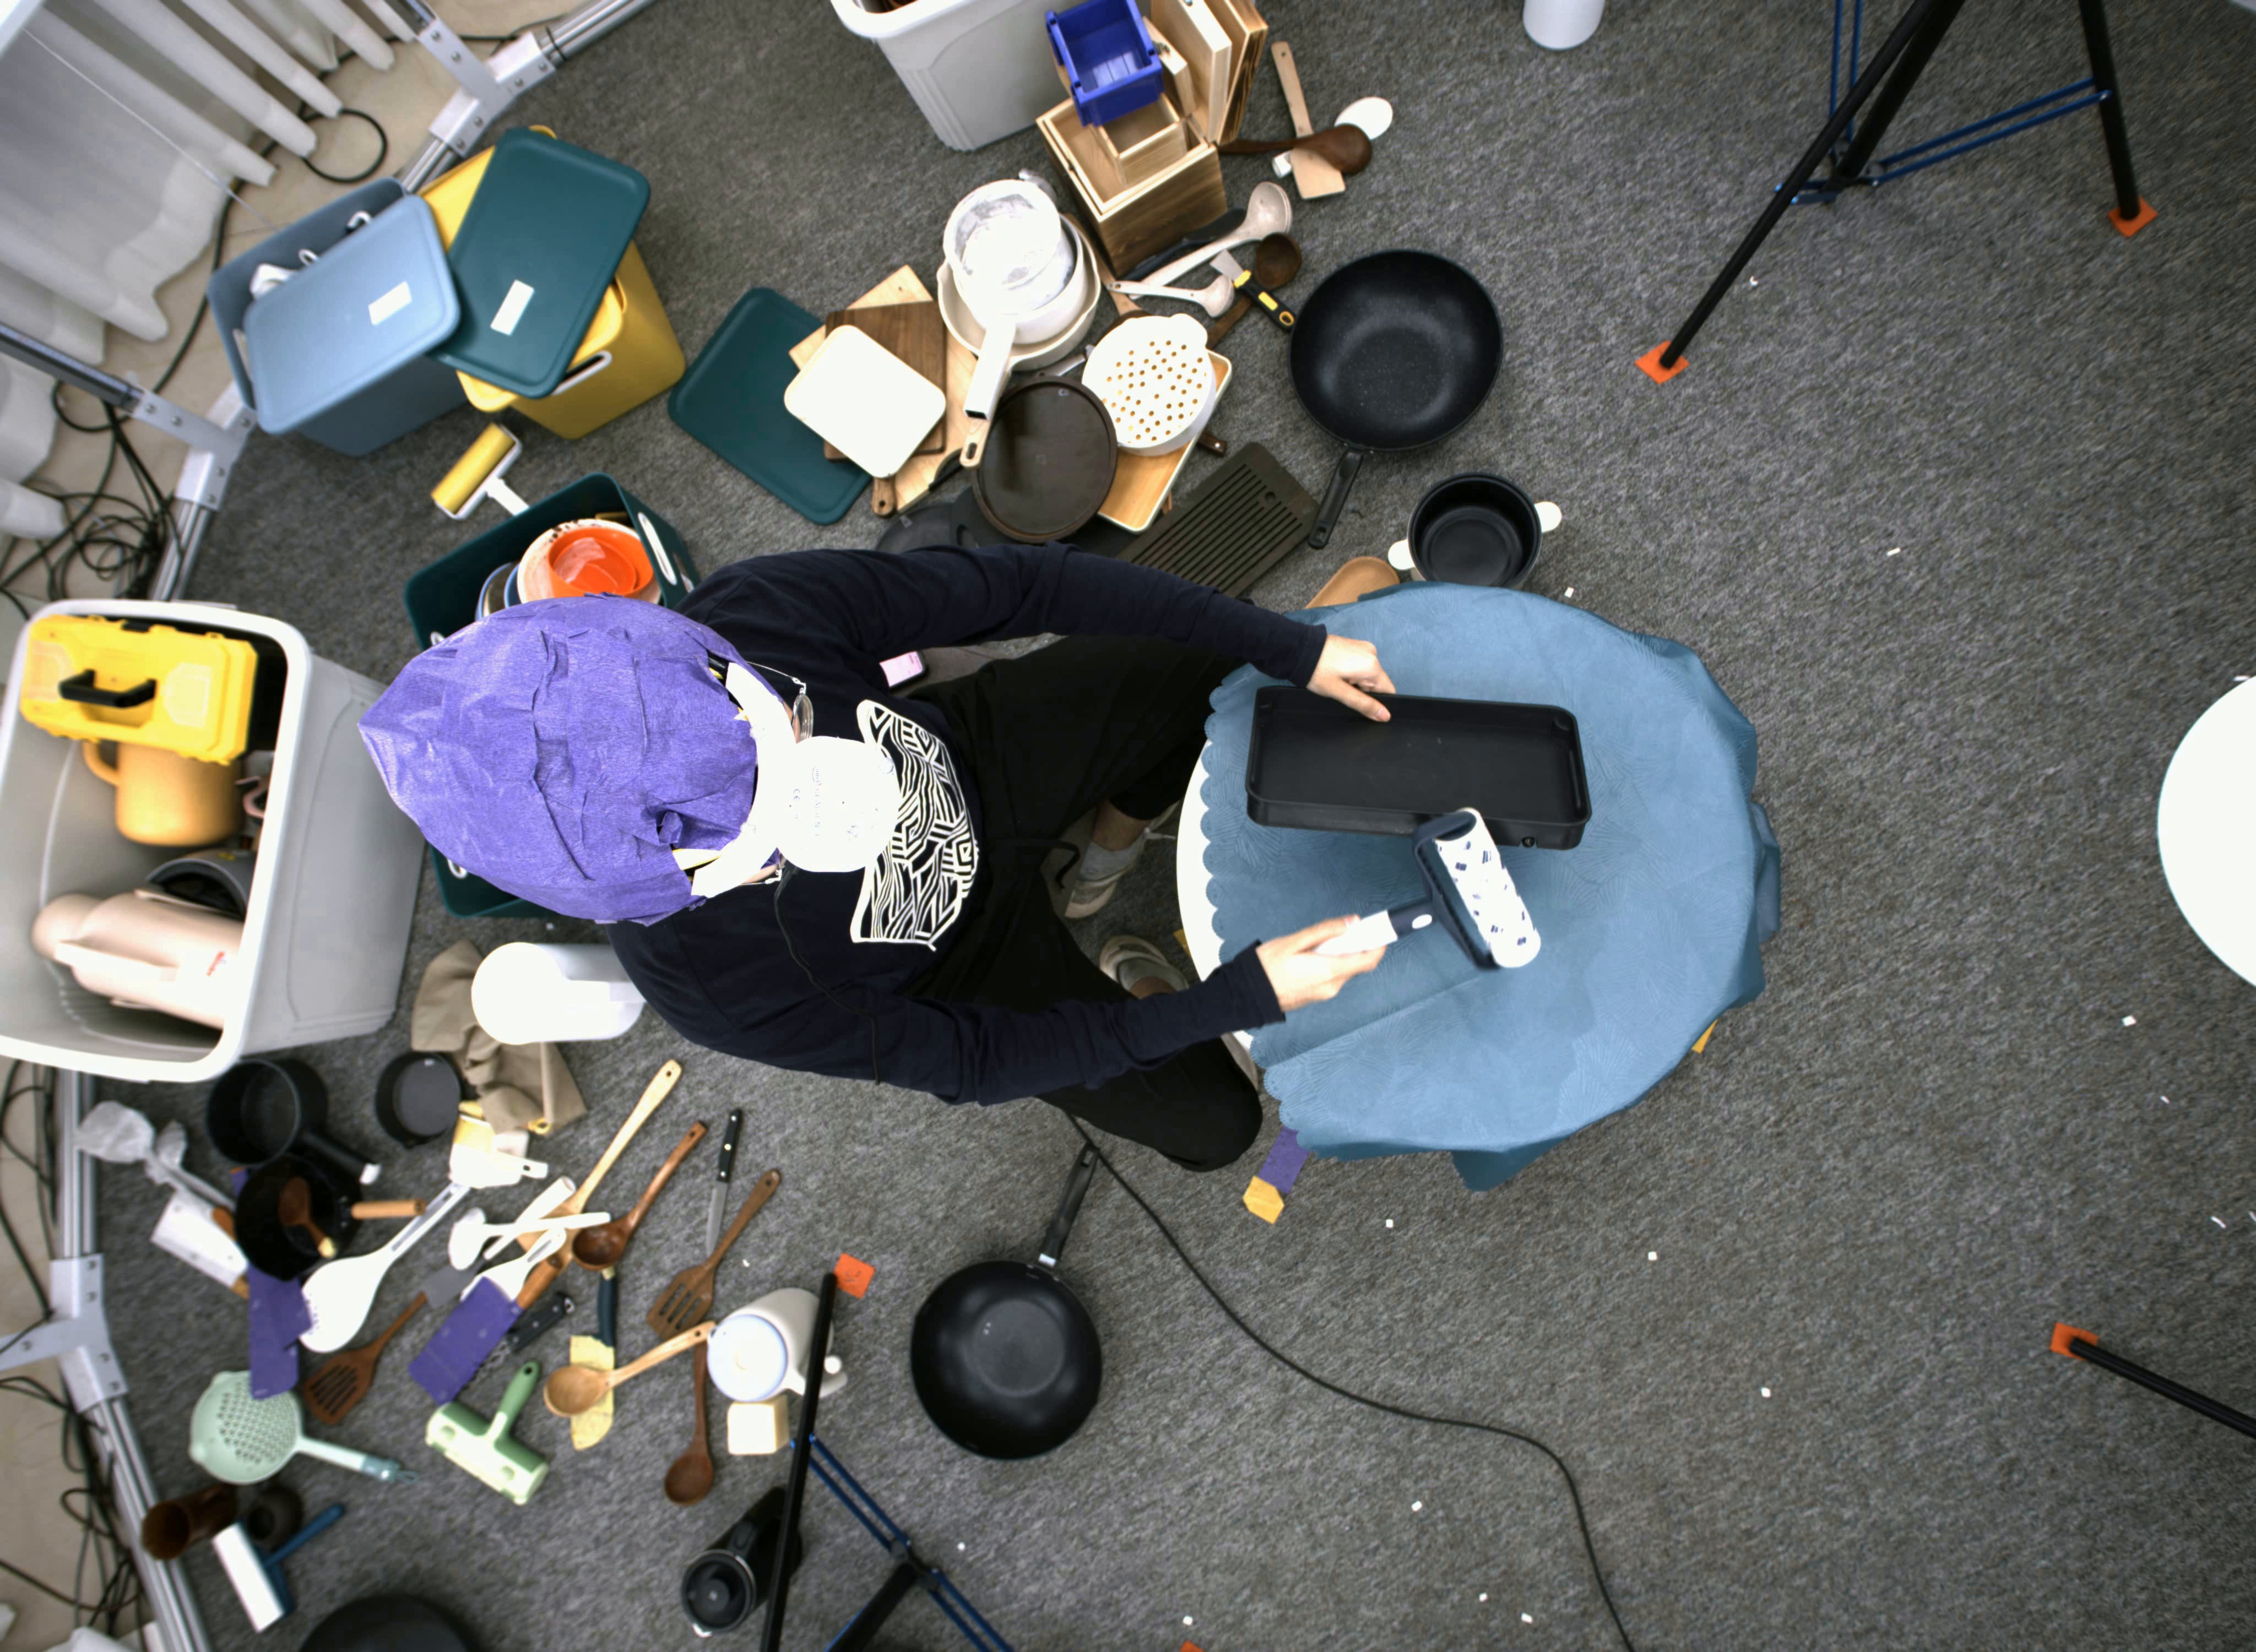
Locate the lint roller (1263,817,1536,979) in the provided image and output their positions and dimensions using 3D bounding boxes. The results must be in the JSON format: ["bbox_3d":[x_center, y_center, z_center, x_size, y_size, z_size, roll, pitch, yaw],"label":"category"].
[{"bbox_3d":[0.241,0.101,1.300,0.250,0.049,0.179,-24,122,20],"label":"lint roller"}]

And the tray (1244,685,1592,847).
[{"bbox_3d":[0.275,-0.062,1.327,0.319,0.038,0.179,4,43,8],"label":"tray"}]
